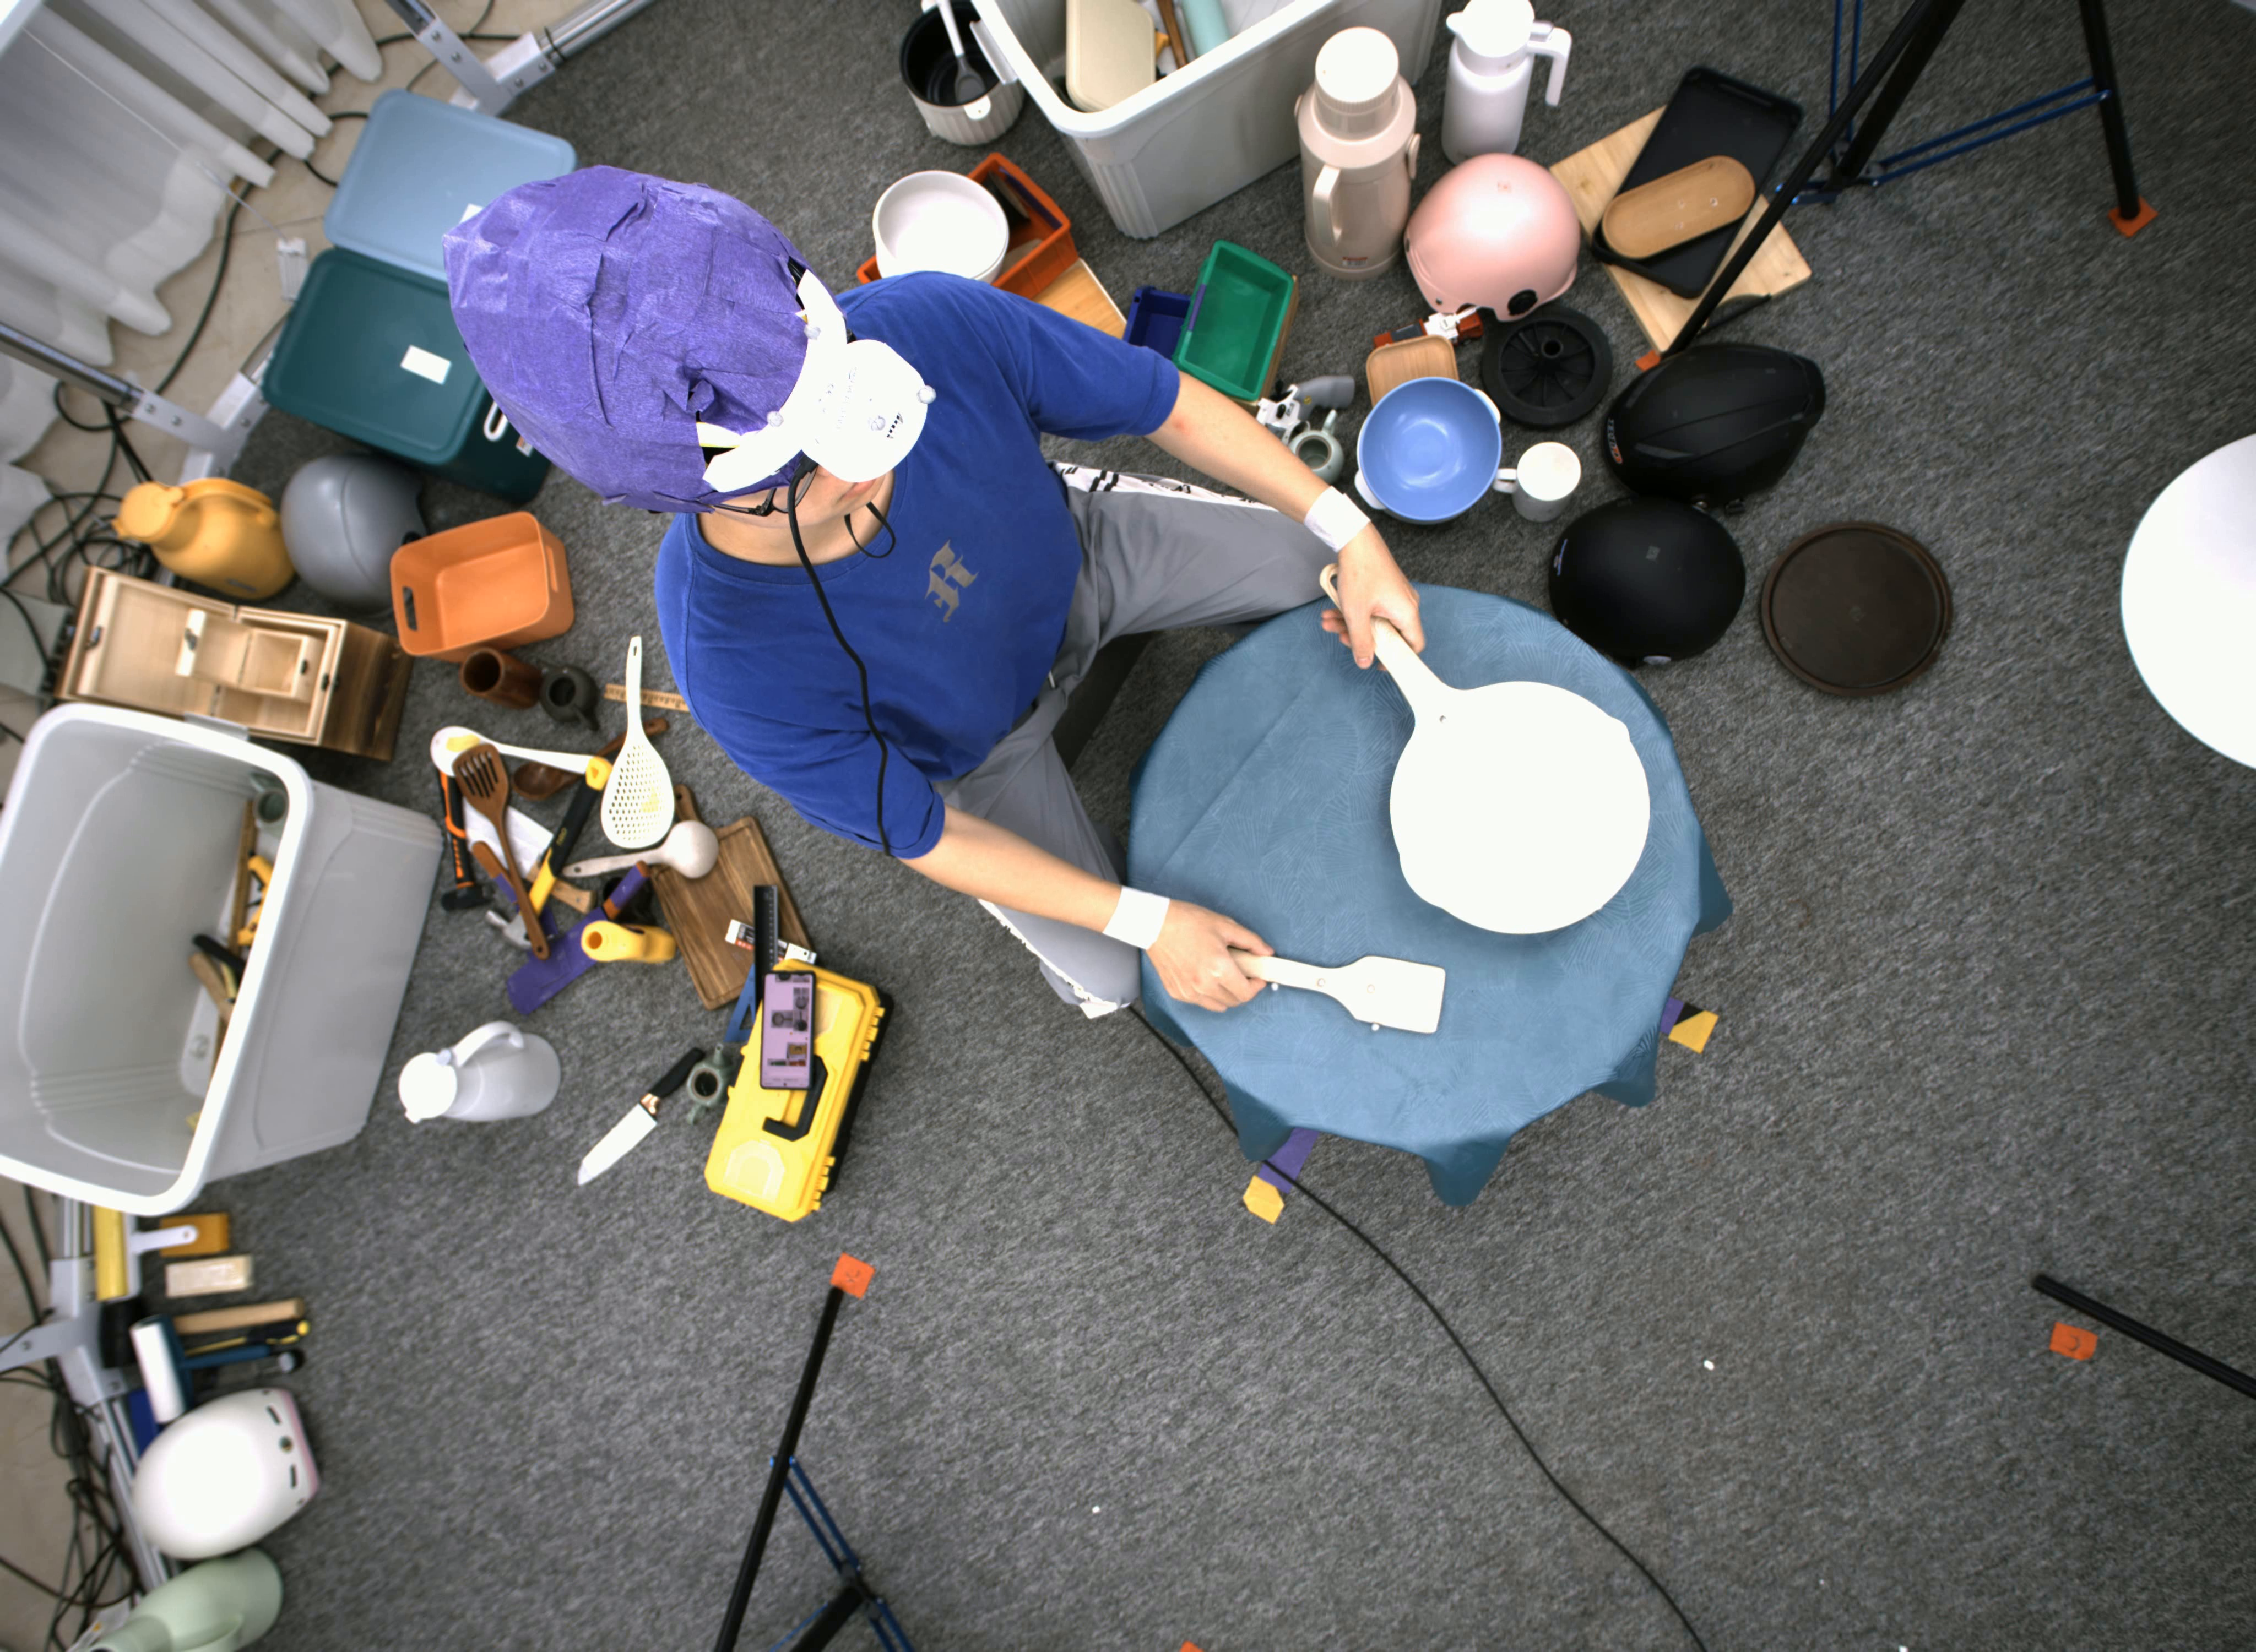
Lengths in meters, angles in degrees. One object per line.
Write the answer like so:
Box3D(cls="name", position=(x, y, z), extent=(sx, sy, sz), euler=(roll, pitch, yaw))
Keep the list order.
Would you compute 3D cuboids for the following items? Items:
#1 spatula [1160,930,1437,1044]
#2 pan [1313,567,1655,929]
Box3D(cls="spatula", position=(0.175, 0.158, 1.454), extent=(0.293, 0.011, 0.071), euler=(14, 83, 6))
Box3D(cls="pan", position=(0.341, -0.093, 1.404), extent=(0.265, 0.102, 0.432), euler=(-40, 80, 8))
